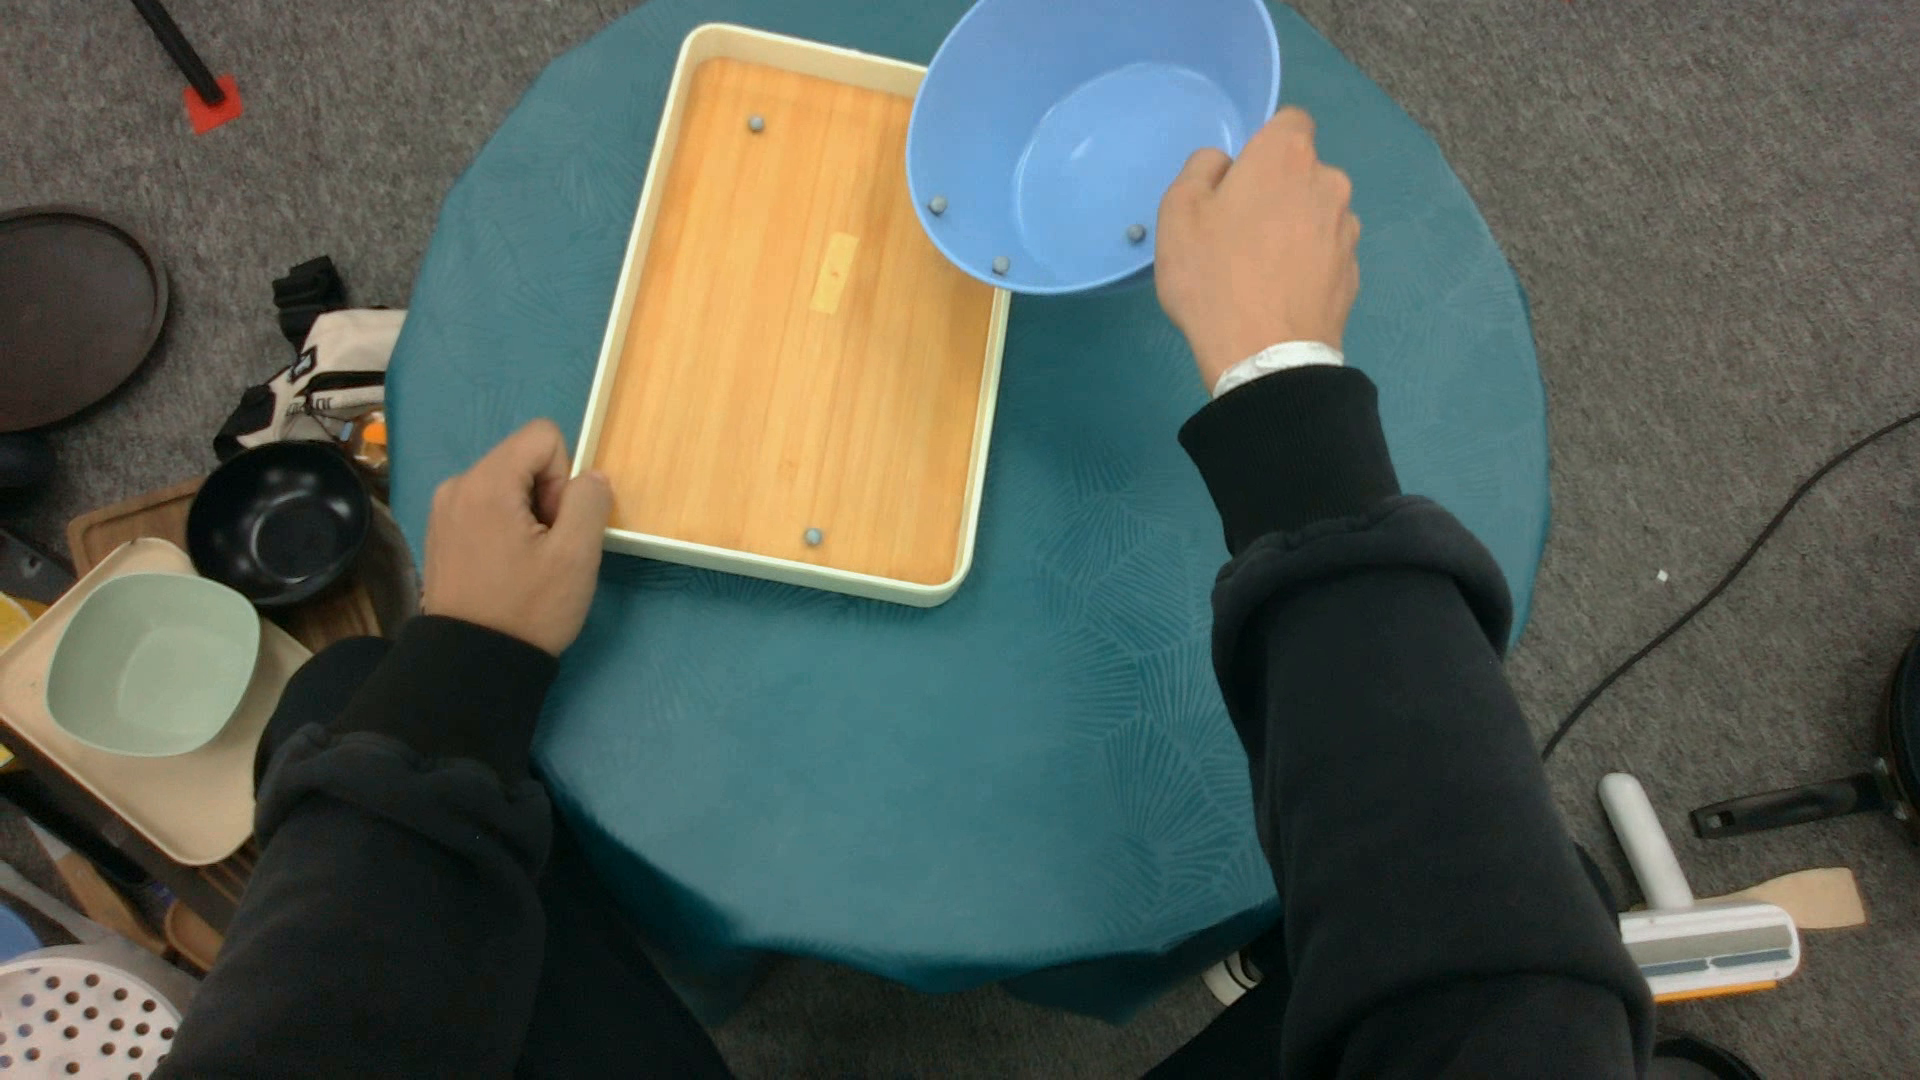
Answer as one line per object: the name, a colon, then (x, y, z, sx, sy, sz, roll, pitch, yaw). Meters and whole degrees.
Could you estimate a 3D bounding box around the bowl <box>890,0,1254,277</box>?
bowl: (0.059, -0.193, 0.640, 0.175, 0.070, 0.176, -8, 72, 26)

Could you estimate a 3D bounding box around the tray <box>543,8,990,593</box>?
tray: (-0.083, -0.129, 0.700, 0.191, 0.027, 0.301, 11, 68, -7)
